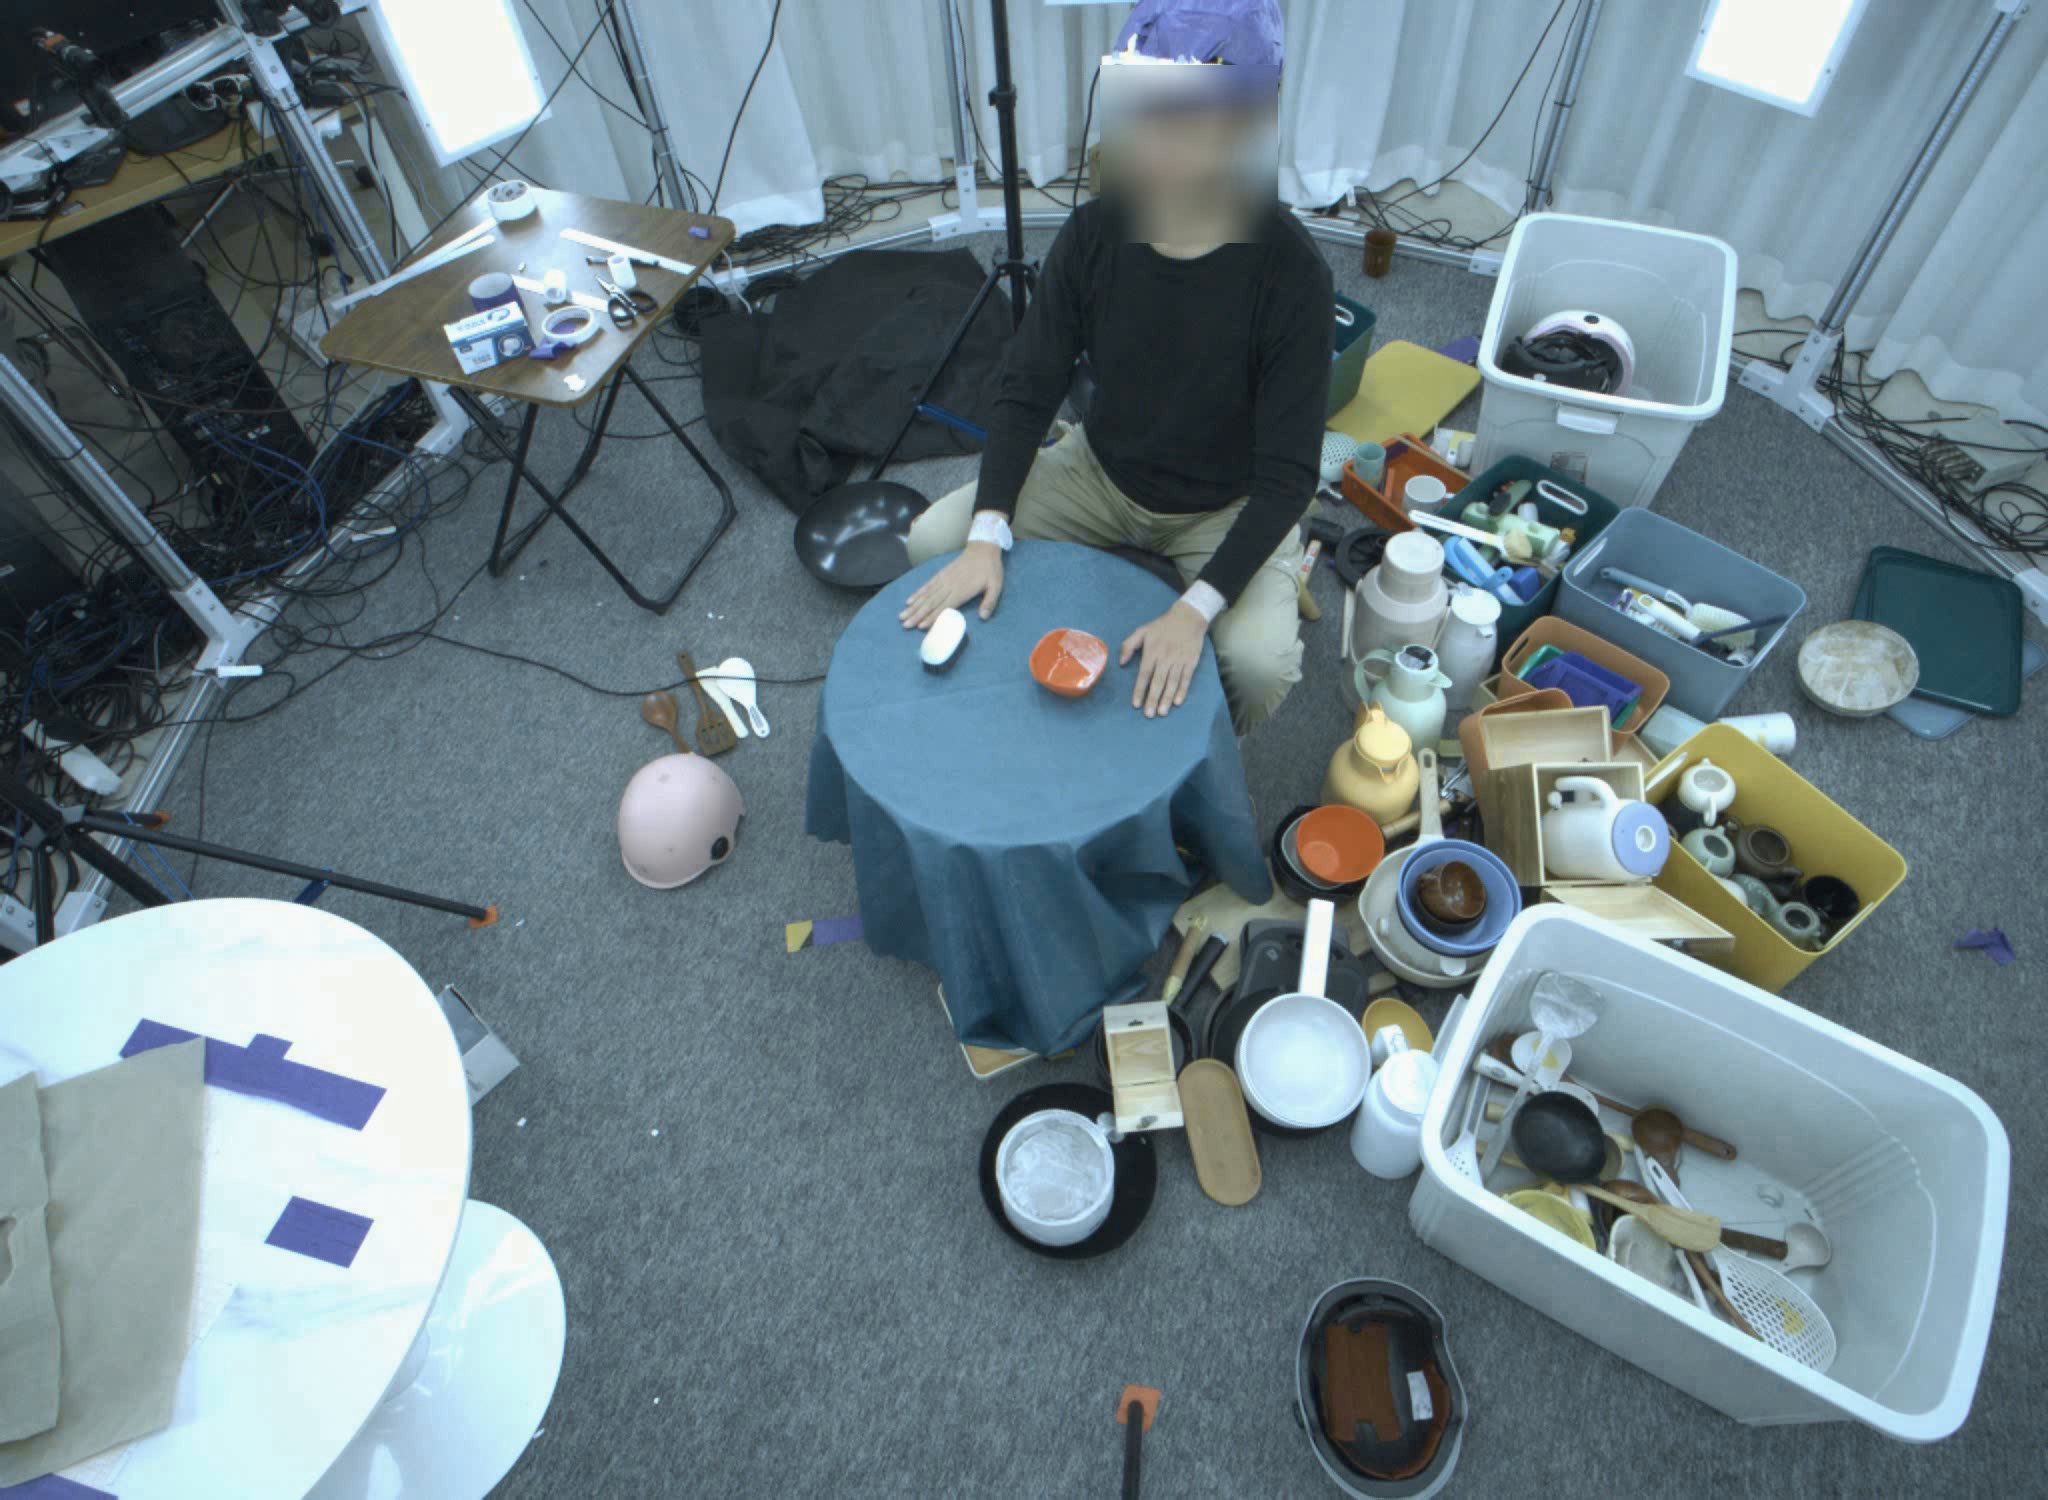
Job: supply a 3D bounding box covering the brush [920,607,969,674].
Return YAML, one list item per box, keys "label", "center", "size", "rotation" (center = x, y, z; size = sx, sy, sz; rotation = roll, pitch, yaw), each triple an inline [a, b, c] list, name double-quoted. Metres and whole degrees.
- label: "brush"
  center: [-0.124, -0.174, 1.869]
  size: [0.049, 0.073, 0.099]
  rotation: [21, 58, 17]

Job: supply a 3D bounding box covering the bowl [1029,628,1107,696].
- label: "bowl"
  center: [0.067, -0.124, 1.841]
  size: [0.118, 0.052, 0.118]
  rotation: [-2, 56, 4]
